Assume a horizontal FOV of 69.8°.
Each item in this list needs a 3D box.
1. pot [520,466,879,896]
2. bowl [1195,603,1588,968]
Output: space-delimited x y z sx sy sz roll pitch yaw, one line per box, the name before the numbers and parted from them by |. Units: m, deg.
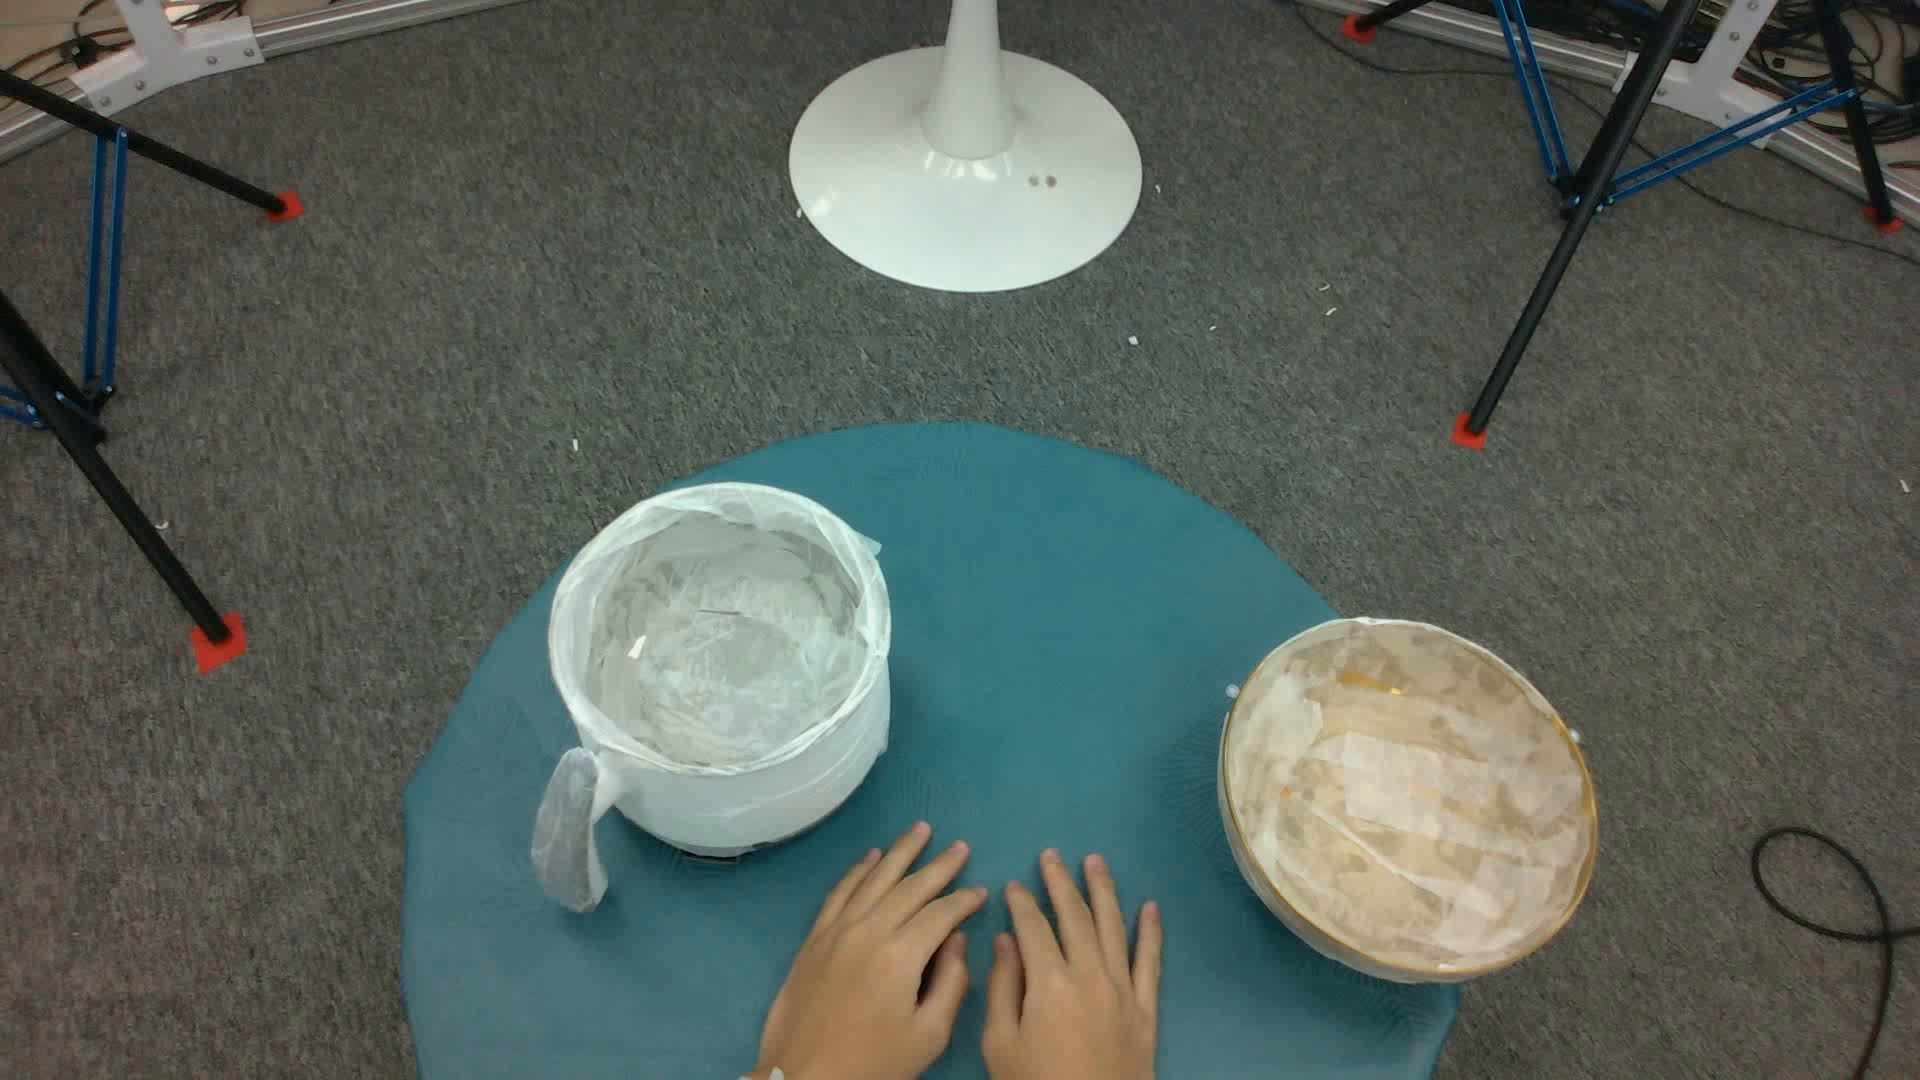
pot | -0.150 0.086 0.758 0.179 0.136 0.235 31 60 16
bowl | 0.228 0.147 0.774 0.215 0.094 0.215 2 59 -4
